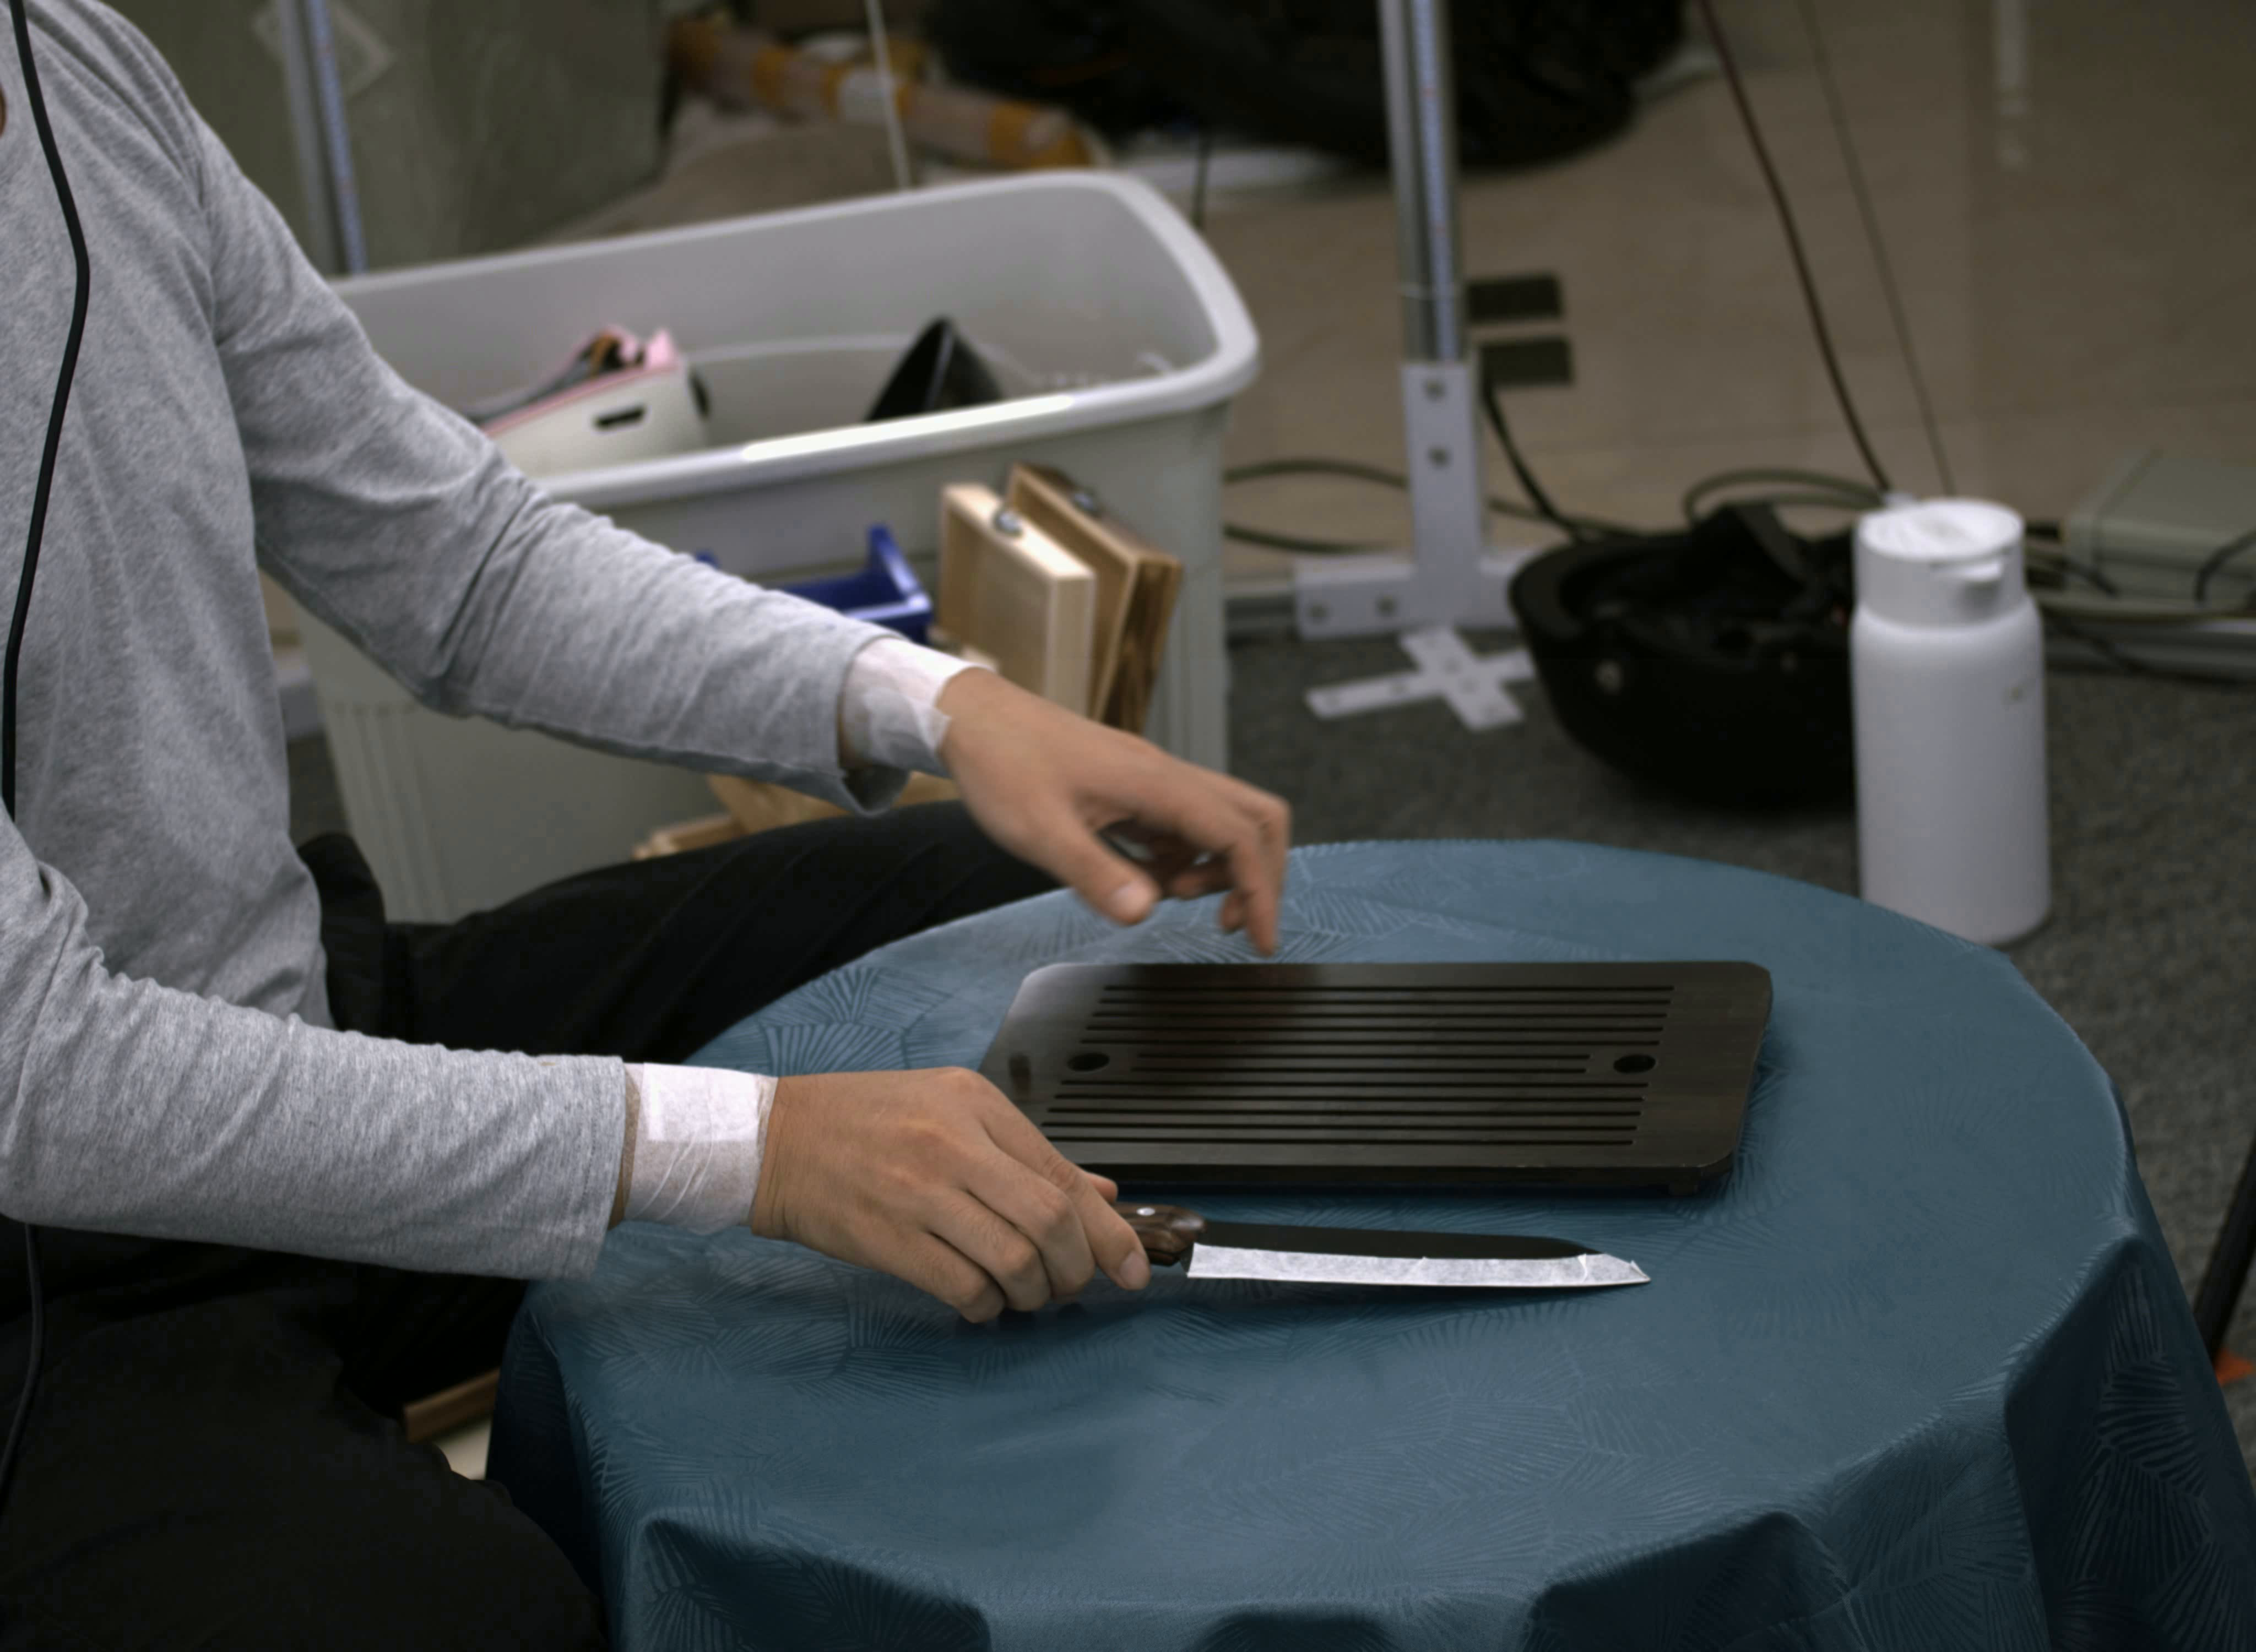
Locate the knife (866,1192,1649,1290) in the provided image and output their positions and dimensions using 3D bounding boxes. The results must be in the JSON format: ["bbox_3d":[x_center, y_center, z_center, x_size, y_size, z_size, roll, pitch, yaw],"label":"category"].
[{"bbox_3d":[0.046,0.154,2.069,0.288,0.020,0.049,3,26,6],"label":"knife"}]

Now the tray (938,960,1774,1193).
[{"bbox_3d":[0.091,0.097,2.199,0.305,0.019,0.167,-1,26,14],"label":"tray"}]
